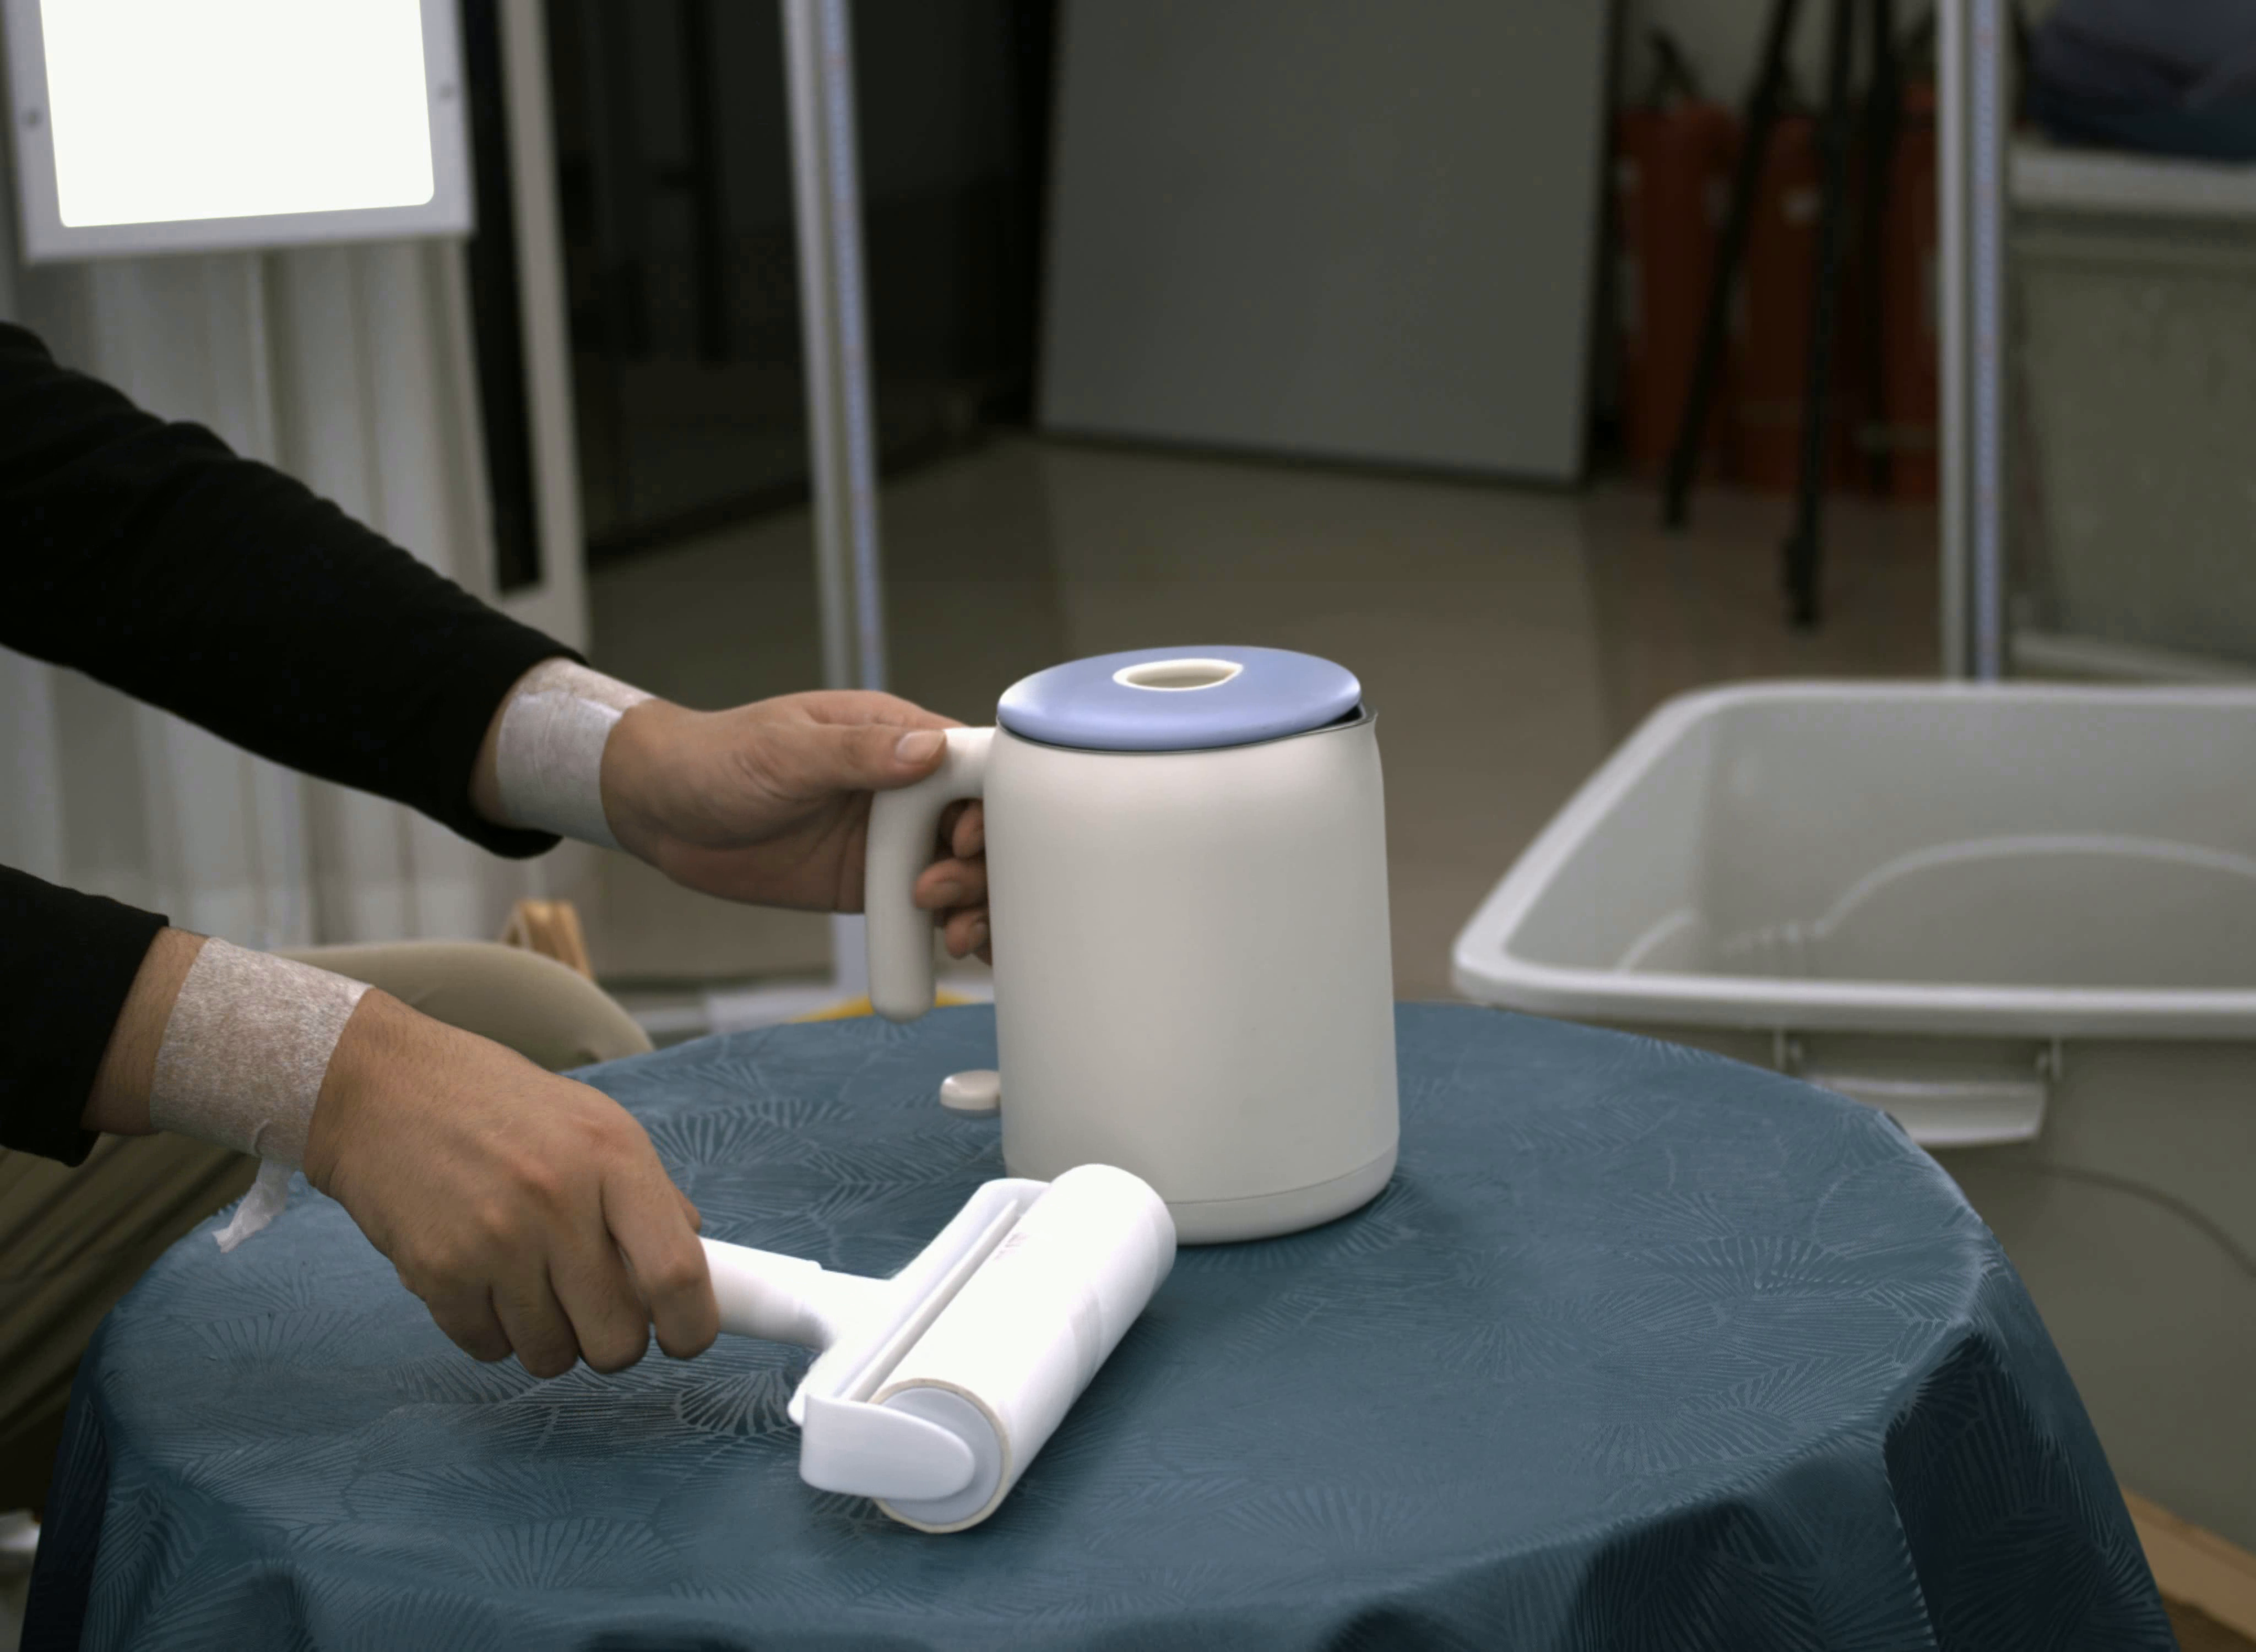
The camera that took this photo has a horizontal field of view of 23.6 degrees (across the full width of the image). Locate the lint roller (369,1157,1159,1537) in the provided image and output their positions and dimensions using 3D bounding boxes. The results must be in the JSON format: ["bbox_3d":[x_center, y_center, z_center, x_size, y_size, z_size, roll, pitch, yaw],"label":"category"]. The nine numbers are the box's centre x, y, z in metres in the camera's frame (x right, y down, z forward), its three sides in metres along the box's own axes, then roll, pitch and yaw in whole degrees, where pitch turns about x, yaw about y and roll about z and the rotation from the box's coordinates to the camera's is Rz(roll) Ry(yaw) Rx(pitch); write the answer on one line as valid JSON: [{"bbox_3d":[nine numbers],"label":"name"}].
[{"bbox_3d":[-0.116,0.134,1.585,0.224,0.049,0.201,10,17,12],"label":"lint roller"}]

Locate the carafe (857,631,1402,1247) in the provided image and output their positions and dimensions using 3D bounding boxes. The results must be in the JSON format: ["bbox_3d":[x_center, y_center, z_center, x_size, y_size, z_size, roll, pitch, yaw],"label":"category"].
[{"bbox_3d":[-0.002,0.035,1.756,0.191,0.184,0.130,0,13,25],"label":"carafe"}]
